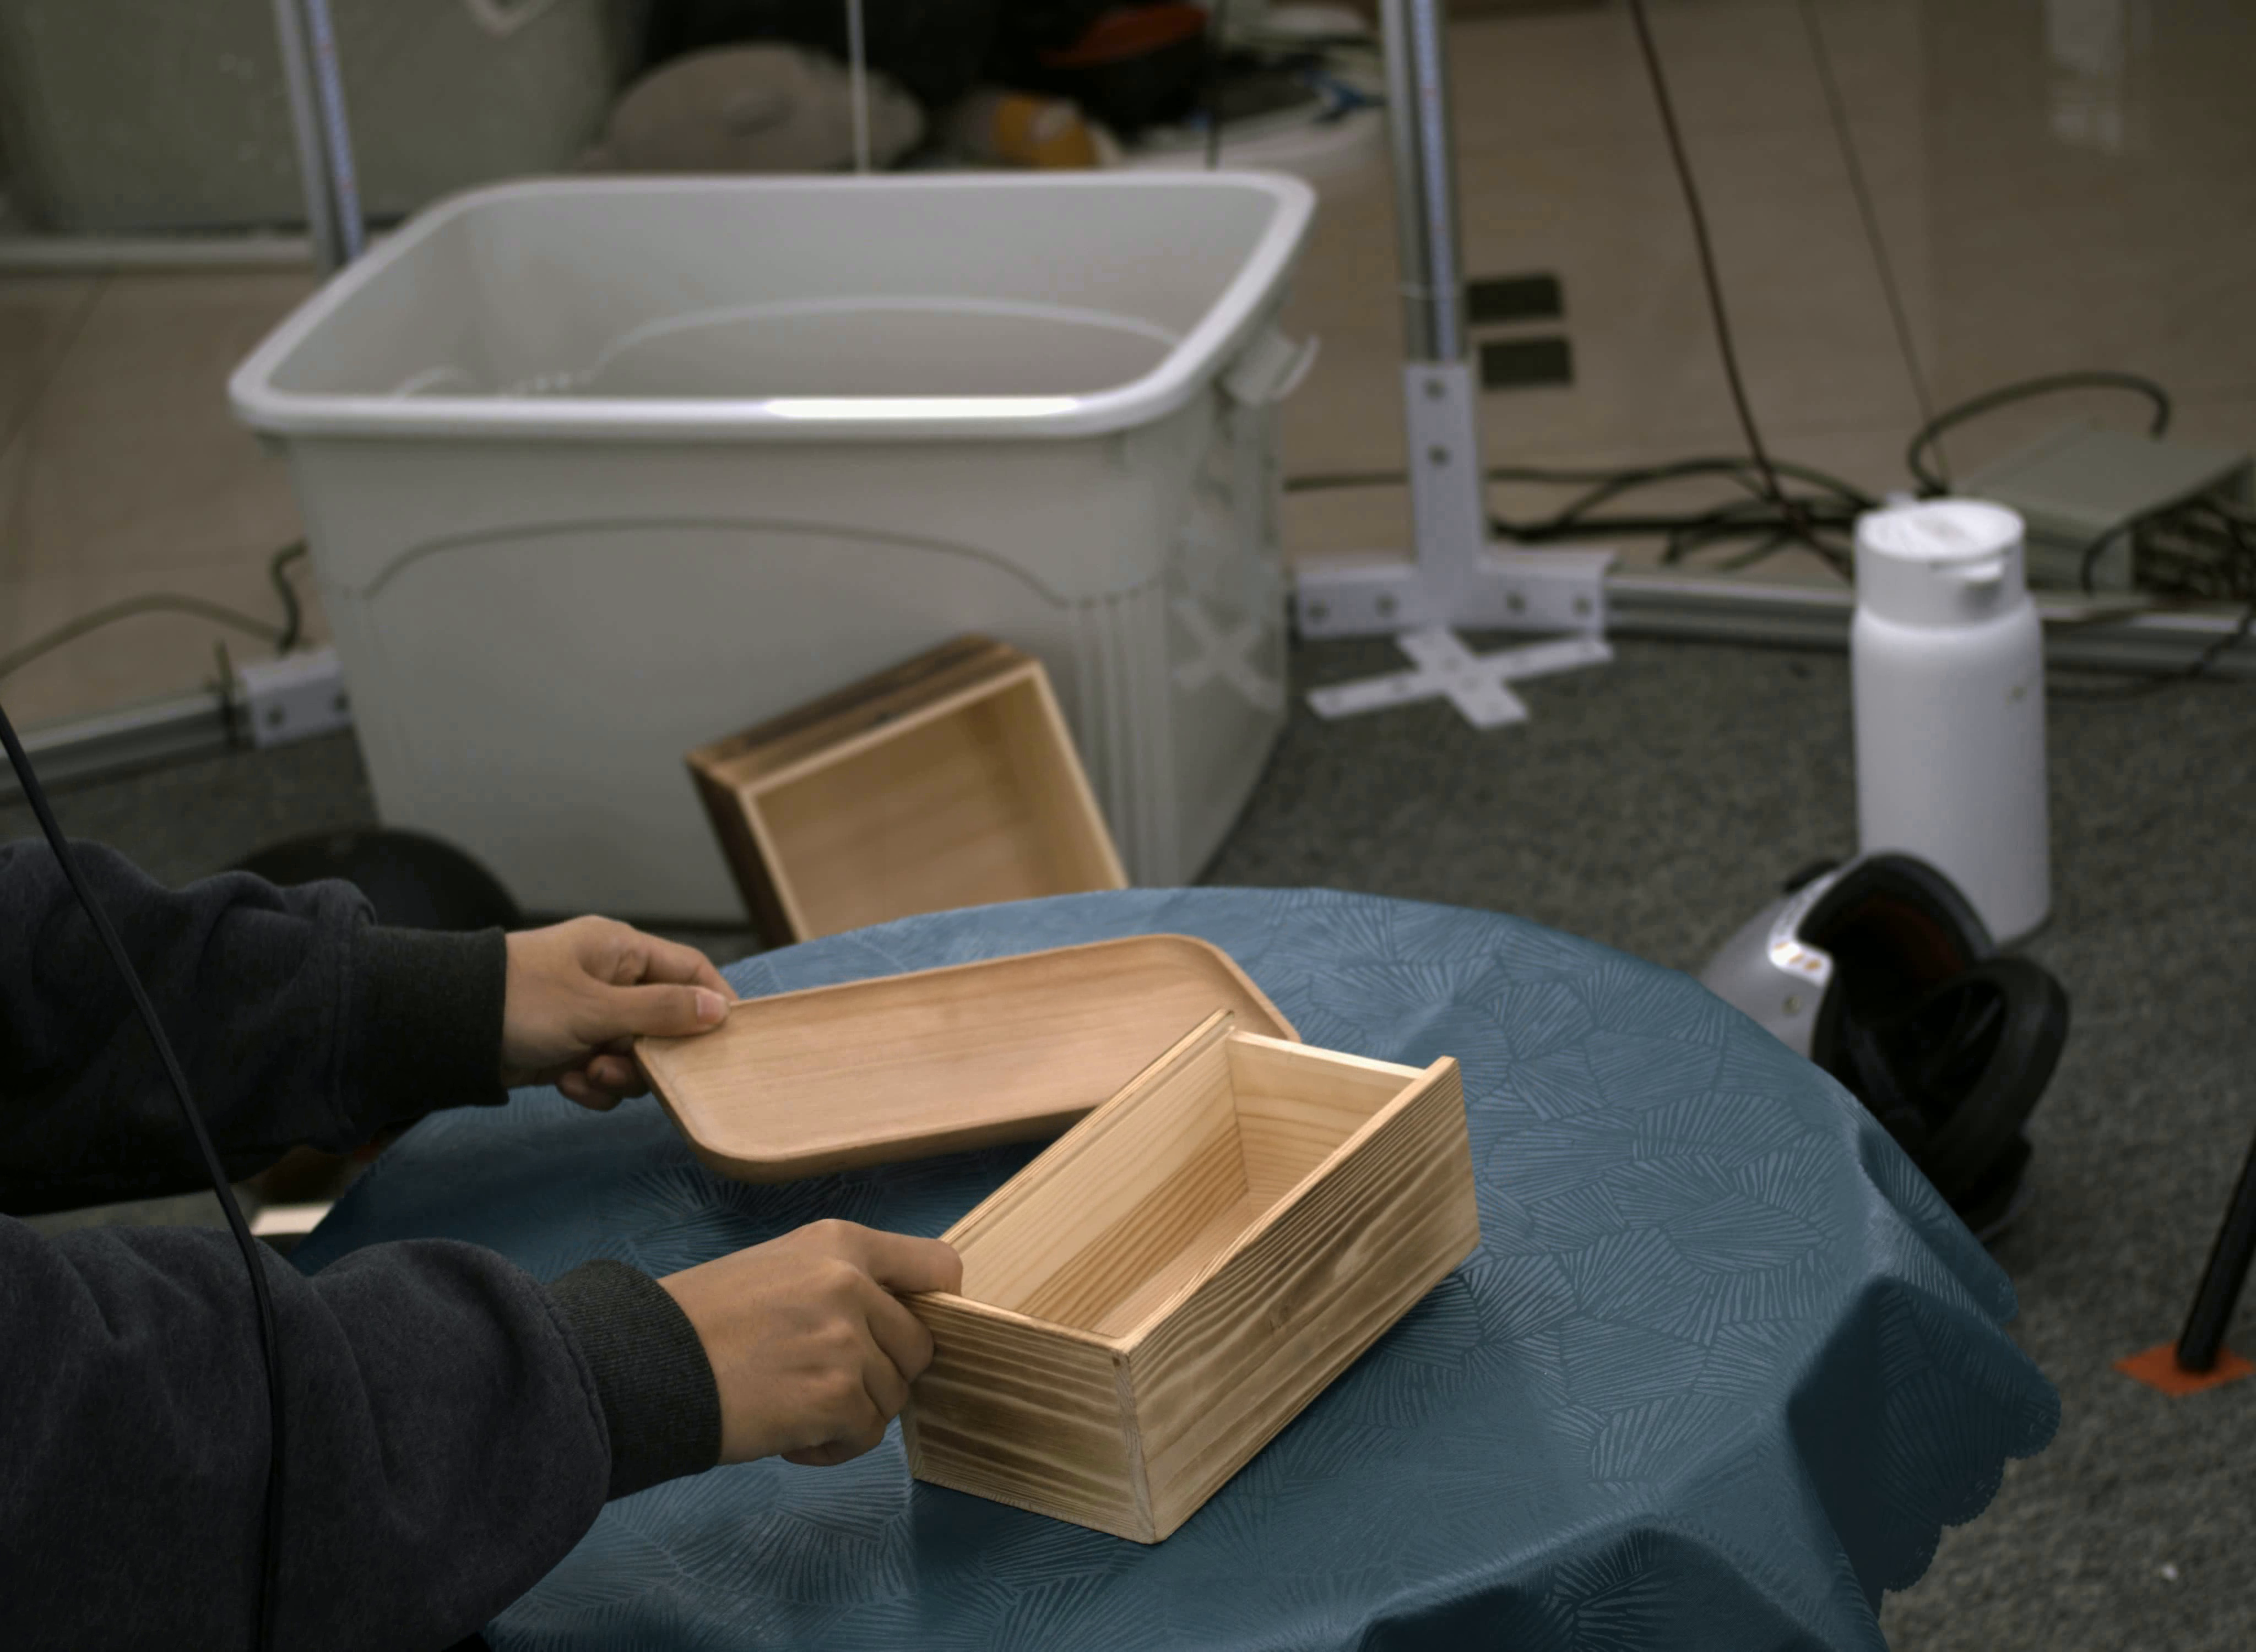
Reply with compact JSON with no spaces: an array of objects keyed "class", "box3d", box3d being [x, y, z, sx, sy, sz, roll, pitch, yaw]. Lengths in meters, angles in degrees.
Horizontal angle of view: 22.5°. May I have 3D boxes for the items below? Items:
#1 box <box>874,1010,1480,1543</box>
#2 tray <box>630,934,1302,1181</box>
[{"class":"box","box3d":[0.020,0.155,2.000,0.107,0.081,0.209,12,34,34]},{"class":"tray","box3d":[-0.063,0.089,2.209,0.250,0.023,0.129,-9,25,-20]}]
